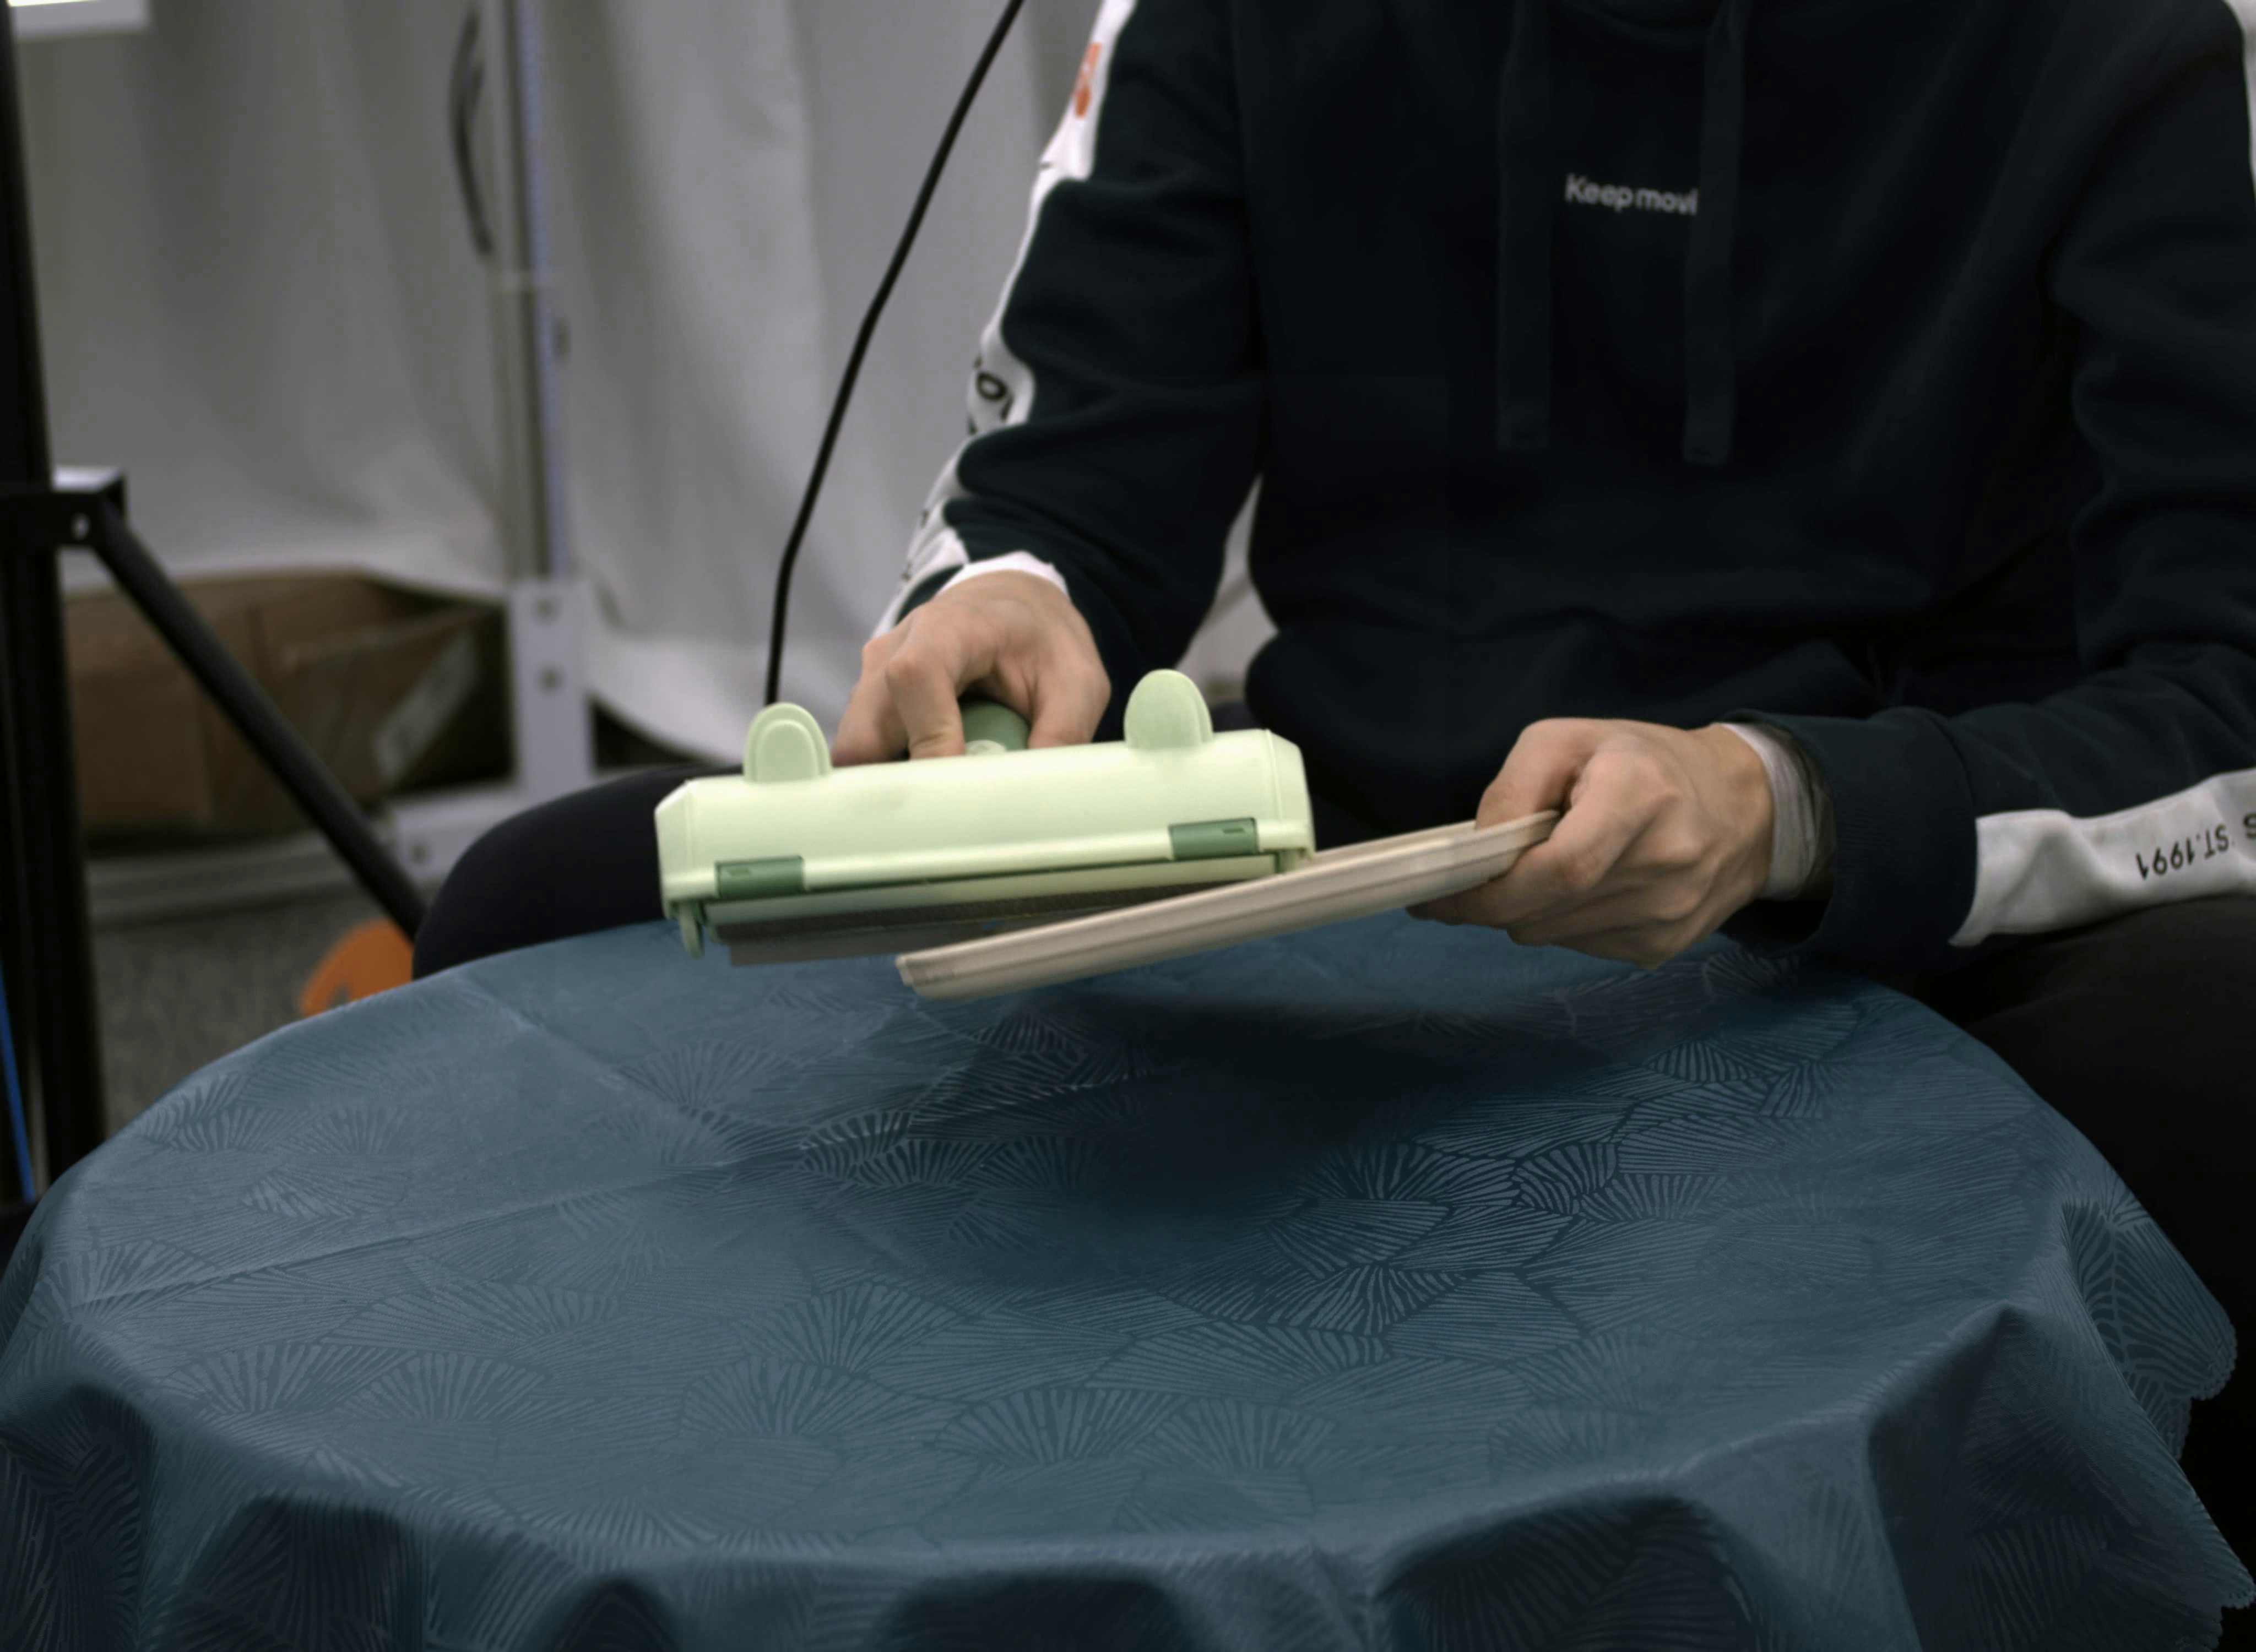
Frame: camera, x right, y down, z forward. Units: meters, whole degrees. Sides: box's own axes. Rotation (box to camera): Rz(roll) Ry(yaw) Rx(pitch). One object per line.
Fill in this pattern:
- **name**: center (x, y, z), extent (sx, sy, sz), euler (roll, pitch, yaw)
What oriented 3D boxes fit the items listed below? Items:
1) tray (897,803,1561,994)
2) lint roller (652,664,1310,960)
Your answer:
- **tray**: center (0.036, 0.022, 1.606), extent (0.172, 0.017, 0.237), euler (-12, 0, 16)
- **lint roller**: center (-0.047, -0.024, 1.658), extent (0.198, 0.082, 0.185), euler (-5, 24, 1)
